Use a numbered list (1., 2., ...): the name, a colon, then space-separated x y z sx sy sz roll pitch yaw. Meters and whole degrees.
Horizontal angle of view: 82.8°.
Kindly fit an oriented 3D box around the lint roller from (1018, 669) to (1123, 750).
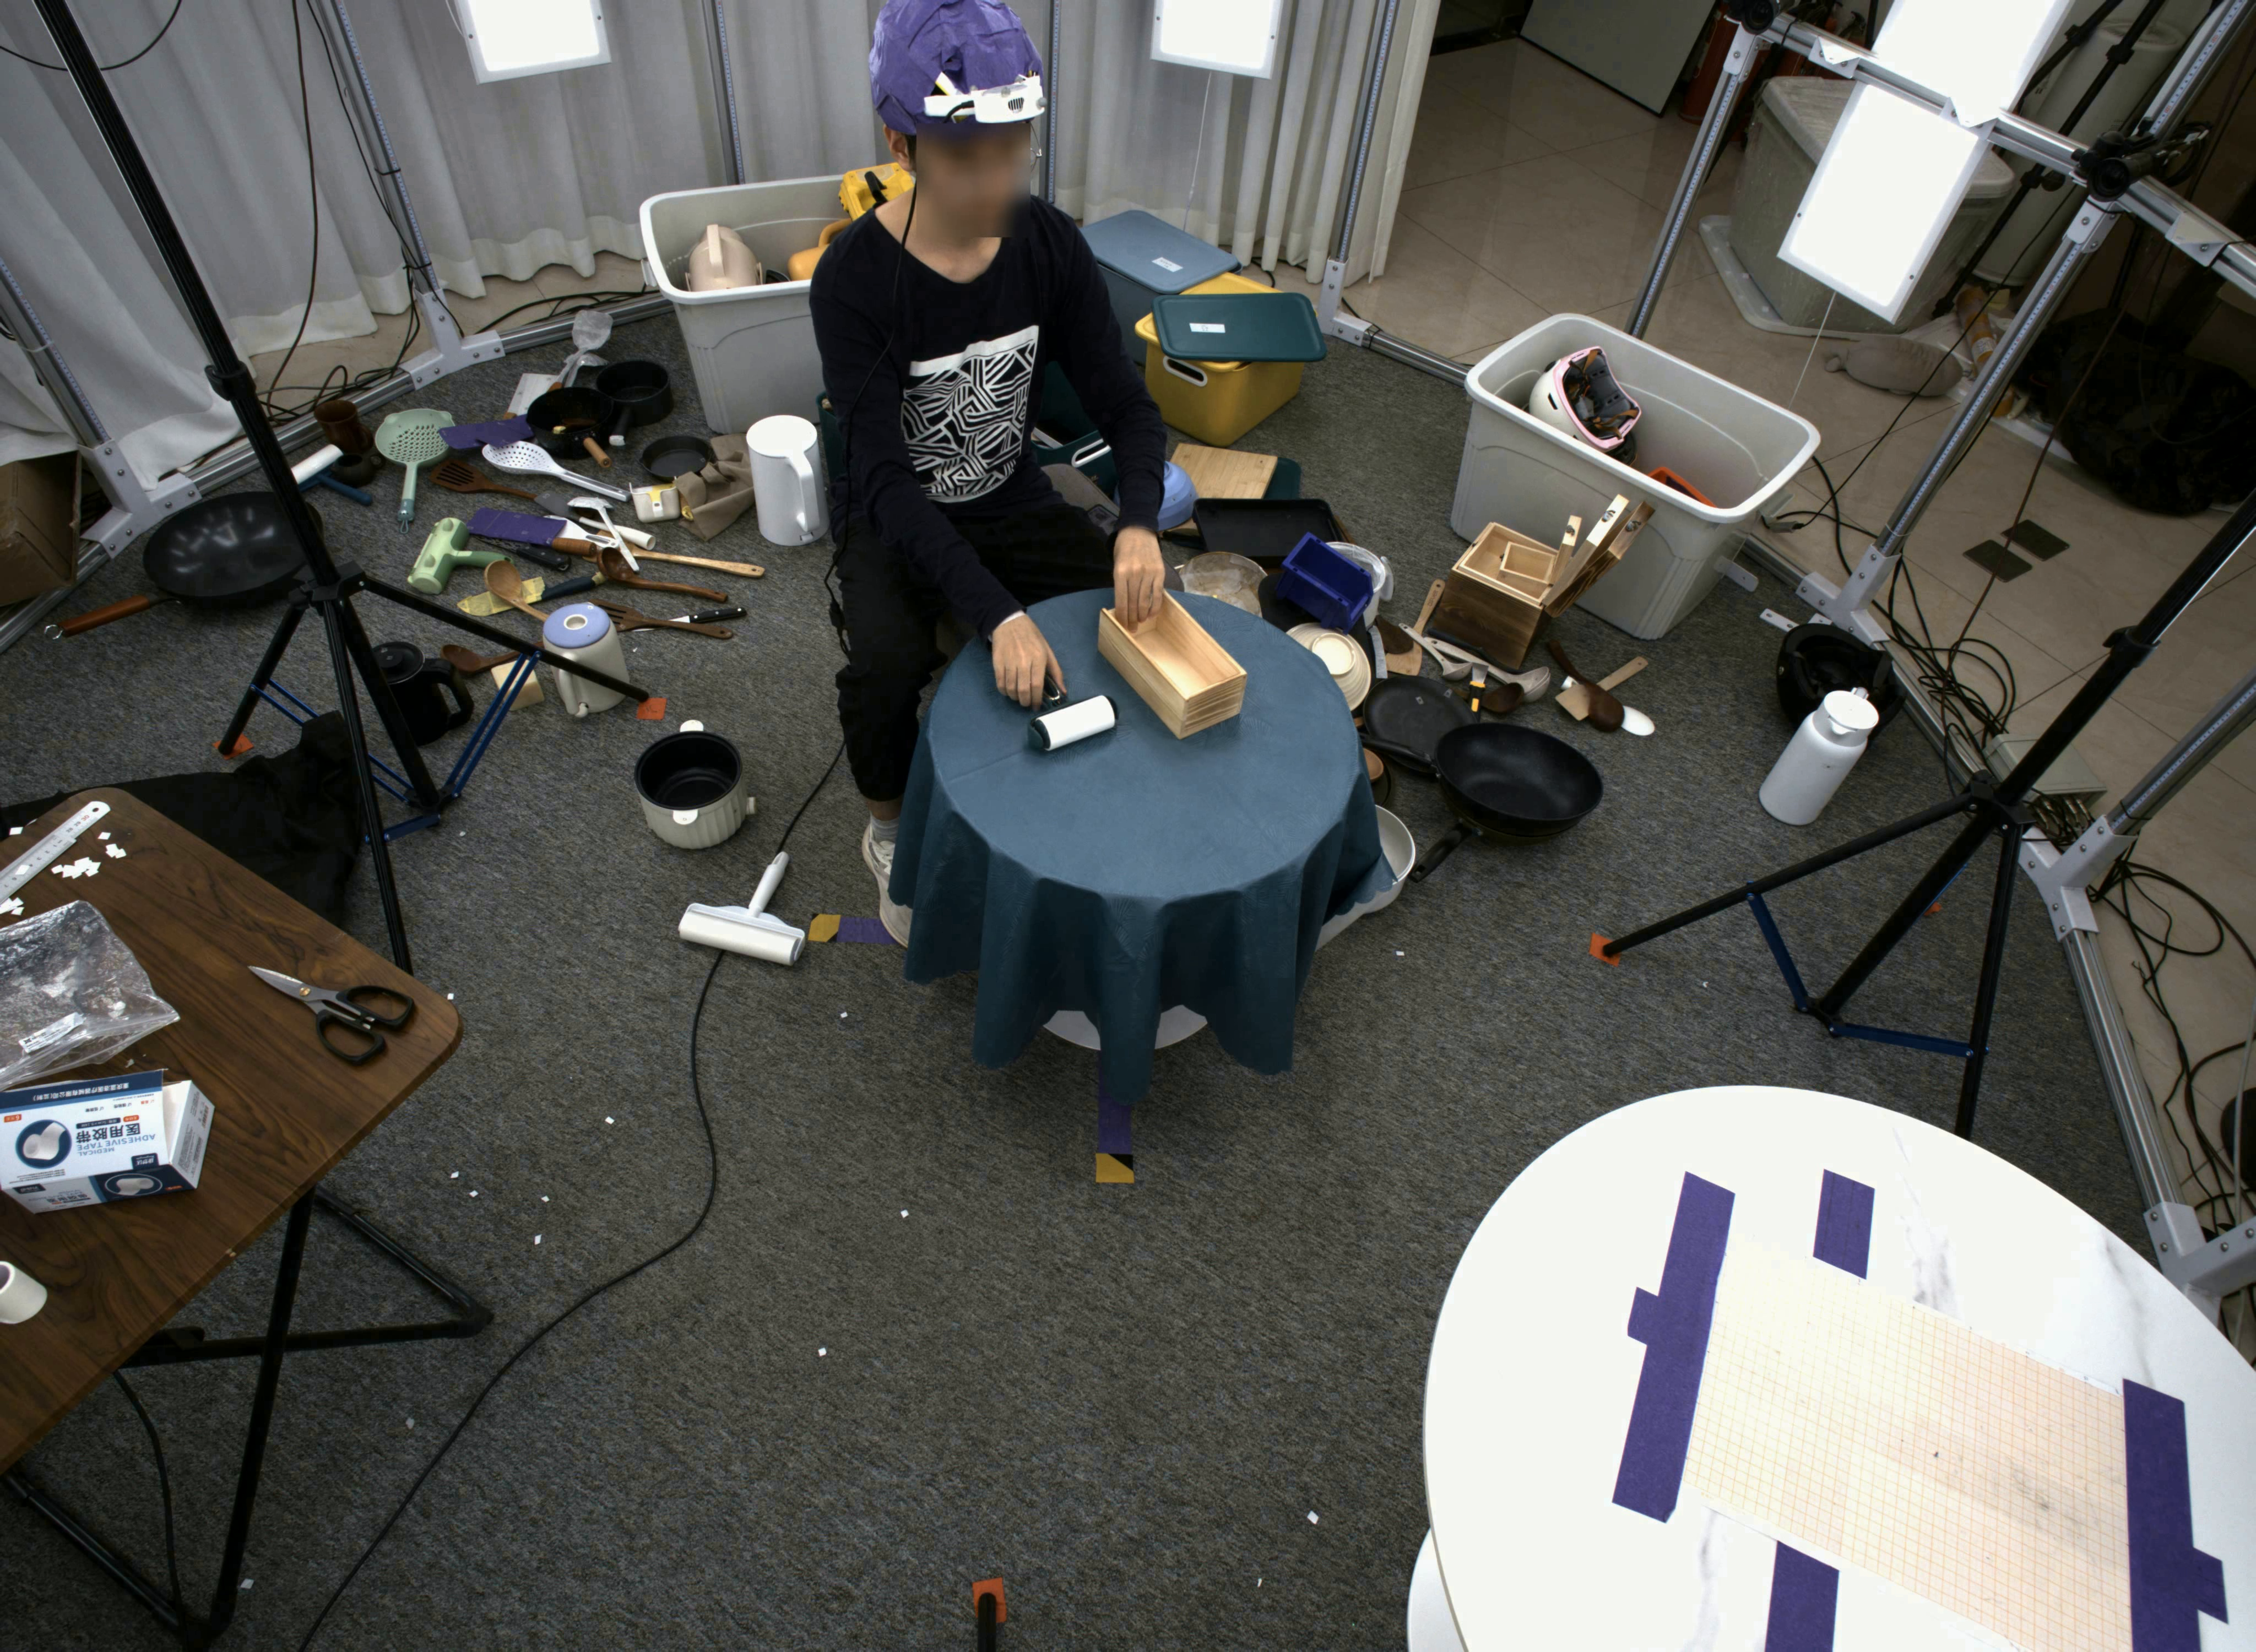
1. lint roller: -0.106 -0.184 1.795 0.135 0.047 0.184 -22 49 -21

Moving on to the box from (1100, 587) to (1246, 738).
1. box: 0.061 -0.234 1.823 0.108 0.078 0.215 -25 54 -22
